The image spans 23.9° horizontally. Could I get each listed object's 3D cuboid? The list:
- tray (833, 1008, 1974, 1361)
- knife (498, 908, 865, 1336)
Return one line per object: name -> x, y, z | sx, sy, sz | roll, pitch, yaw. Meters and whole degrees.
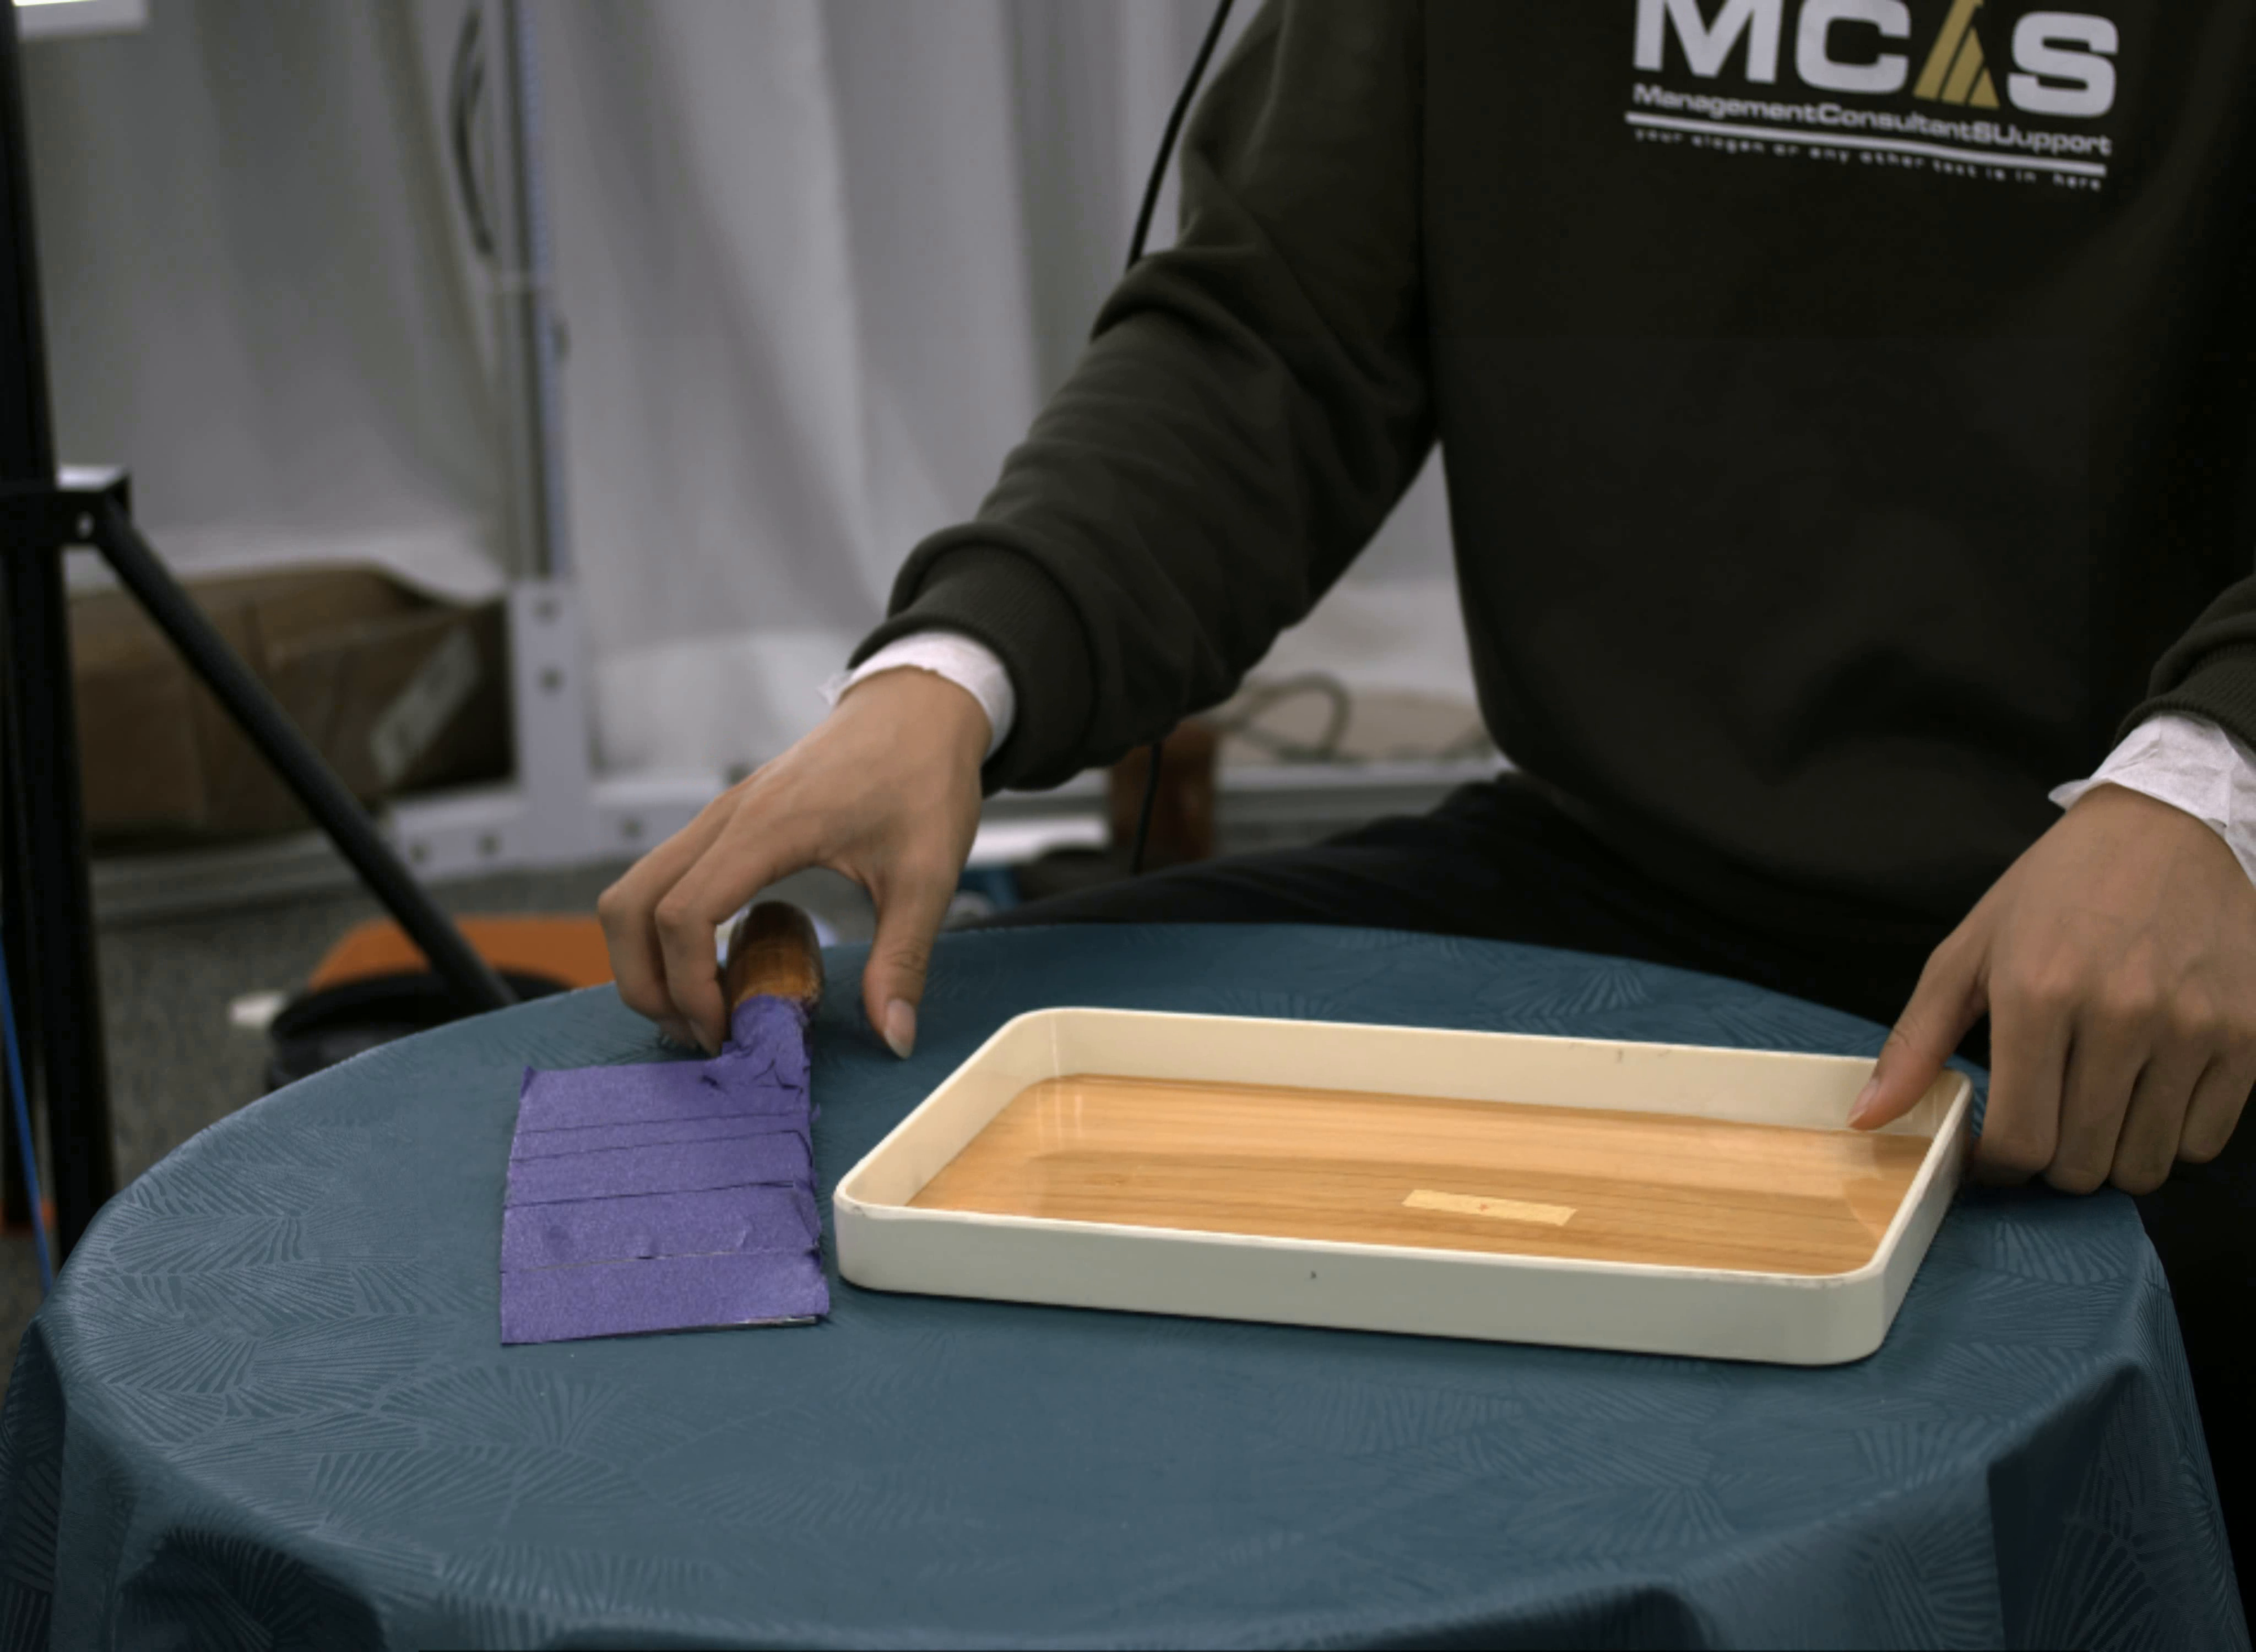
tray -> 0.083, 0.101, 1.526 | 0.303, 0.027, 0.189 | 3, 16, 19
knife -> -0.138, 0.086, 1.611 | 0.103, 0.032, 0.317 | -3, 16, -4
